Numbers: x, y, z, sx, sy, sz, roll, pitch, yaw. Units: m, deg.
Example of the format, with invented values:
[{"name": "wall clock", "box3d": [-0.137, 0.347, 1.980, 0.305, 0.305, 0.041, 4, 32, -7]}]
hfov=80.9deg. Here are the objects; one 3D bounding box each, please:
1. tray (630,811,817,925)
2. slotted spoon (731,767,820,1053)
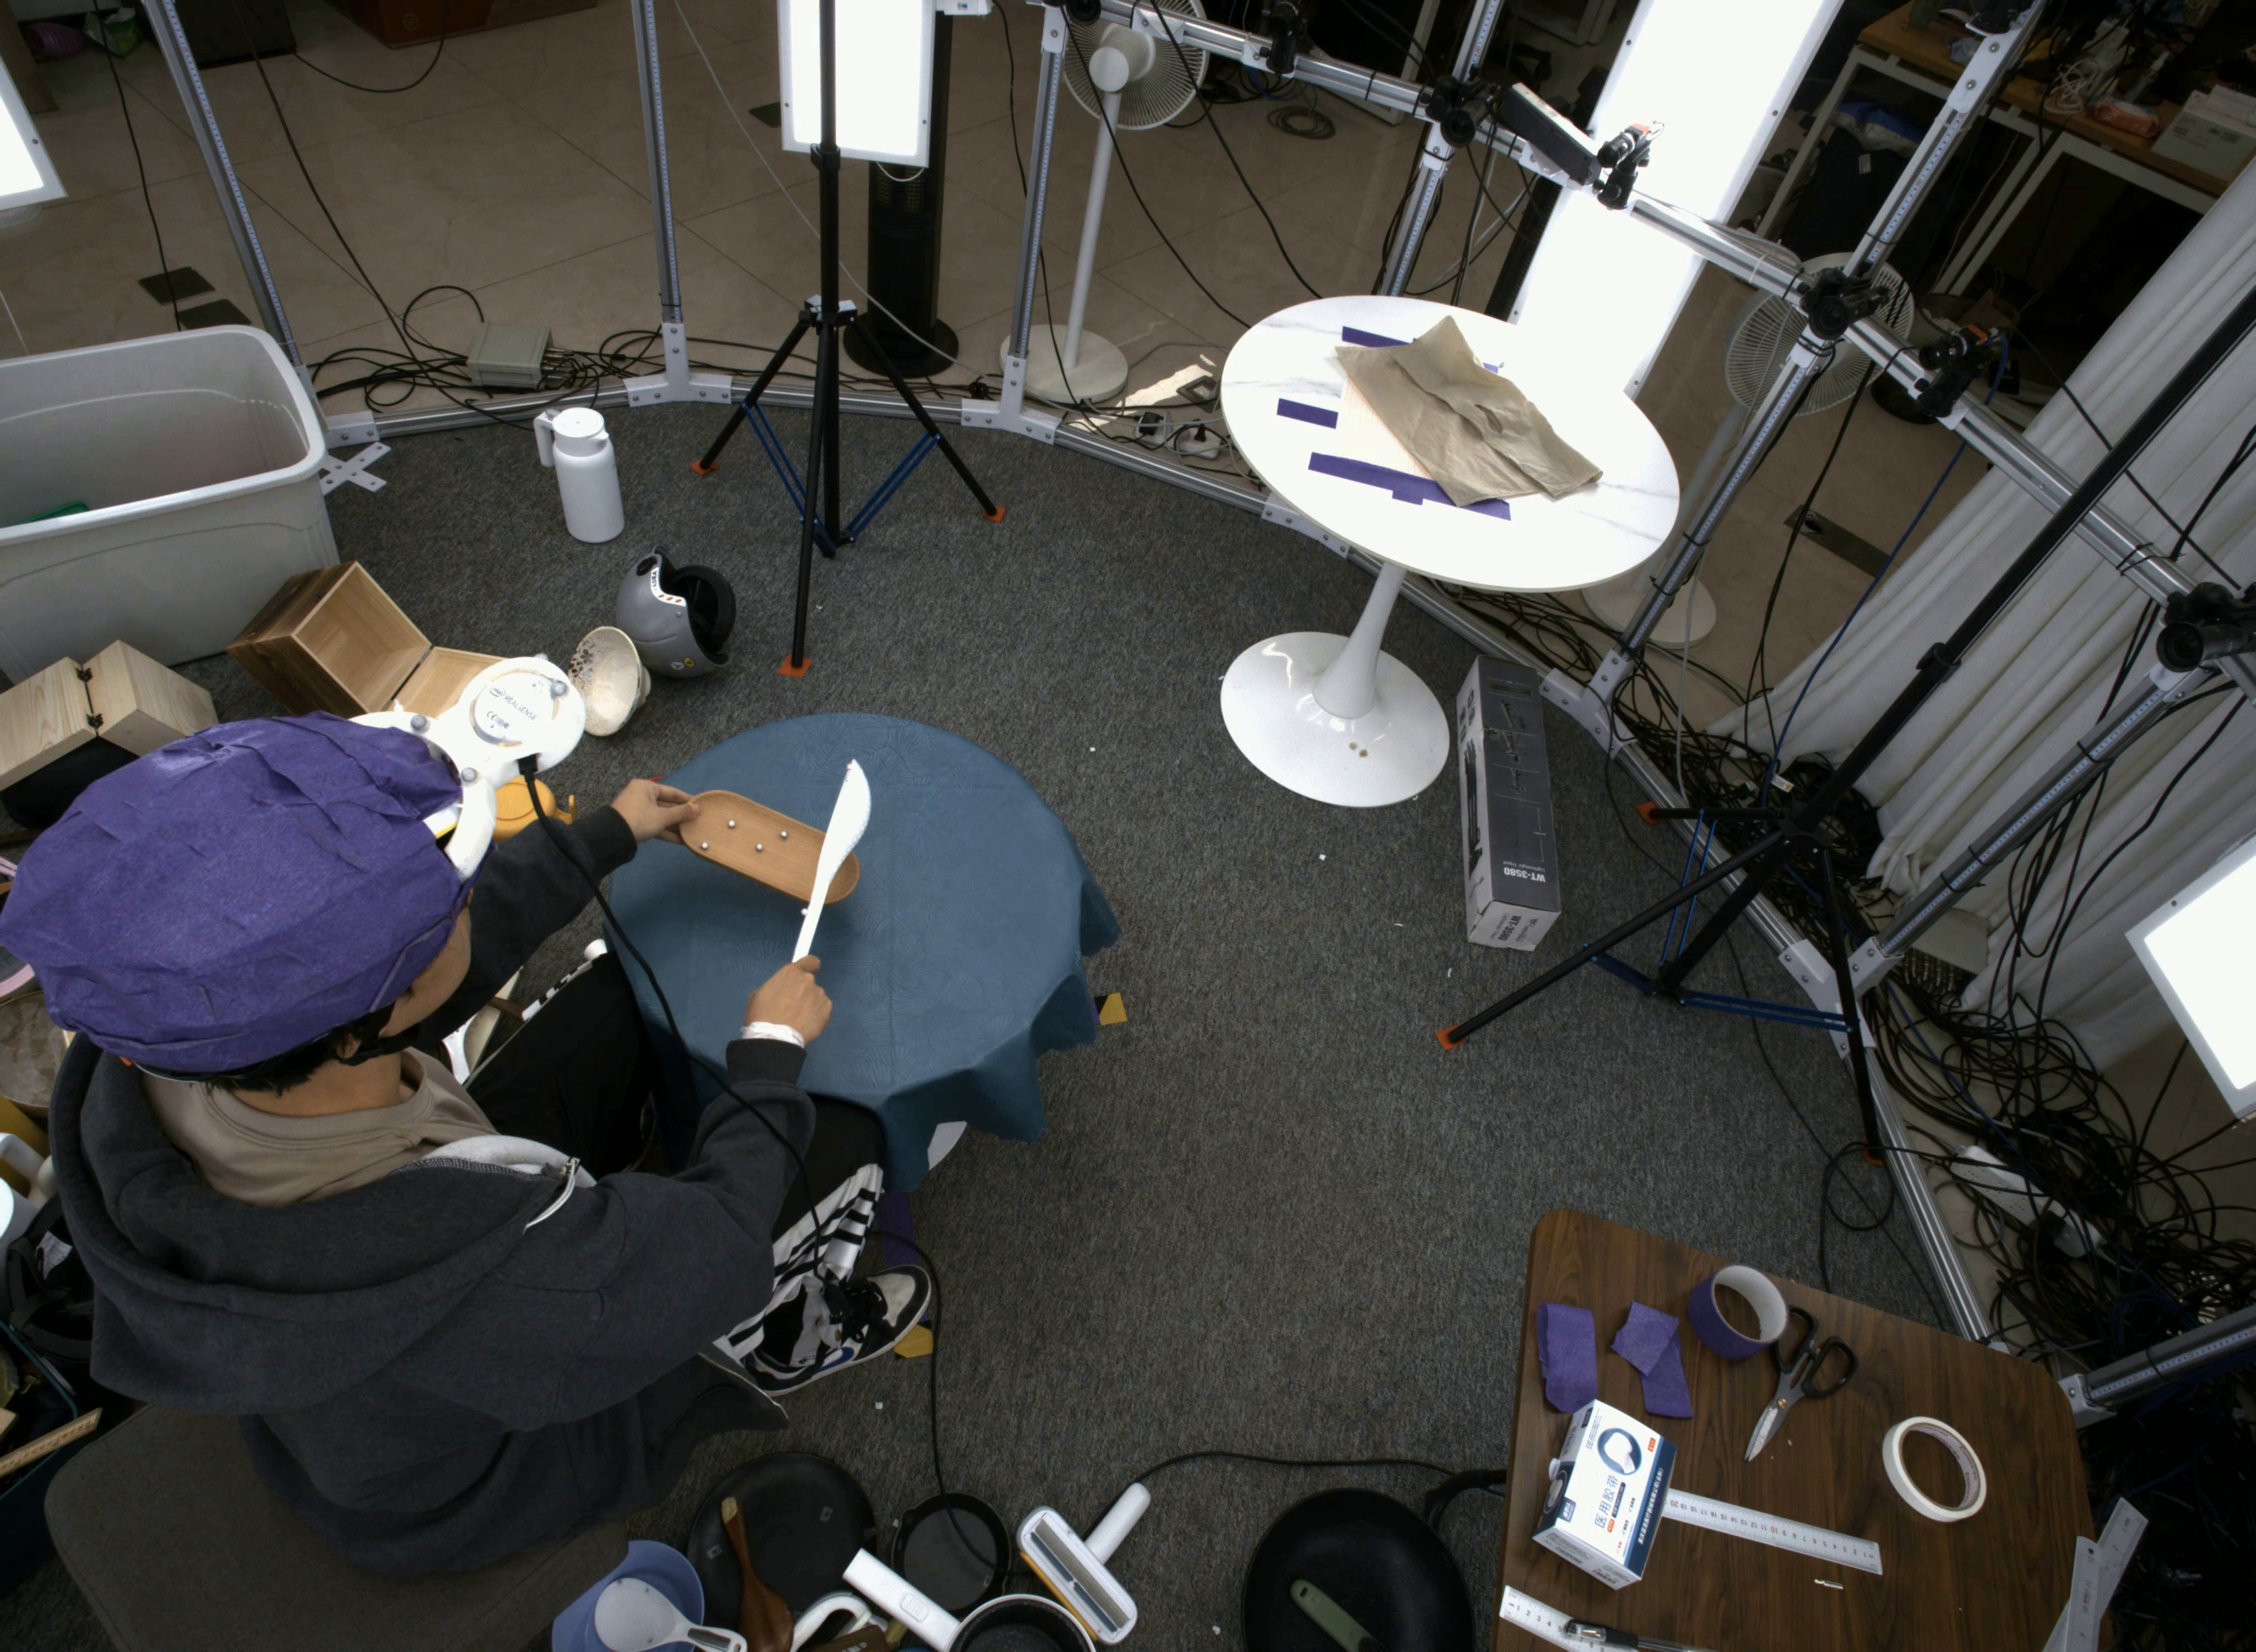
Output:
[{"name": "tray", "box3d": [-0.492, 0.050, 1.570, 0.233, 0.020, 0.100, 22, 55, -13]}, {"name": "slotted spoon", "box3d": [-0.407, 0.090, 1.479, 0.046, 0.137, 0.346, 18, 58, -12]}]
